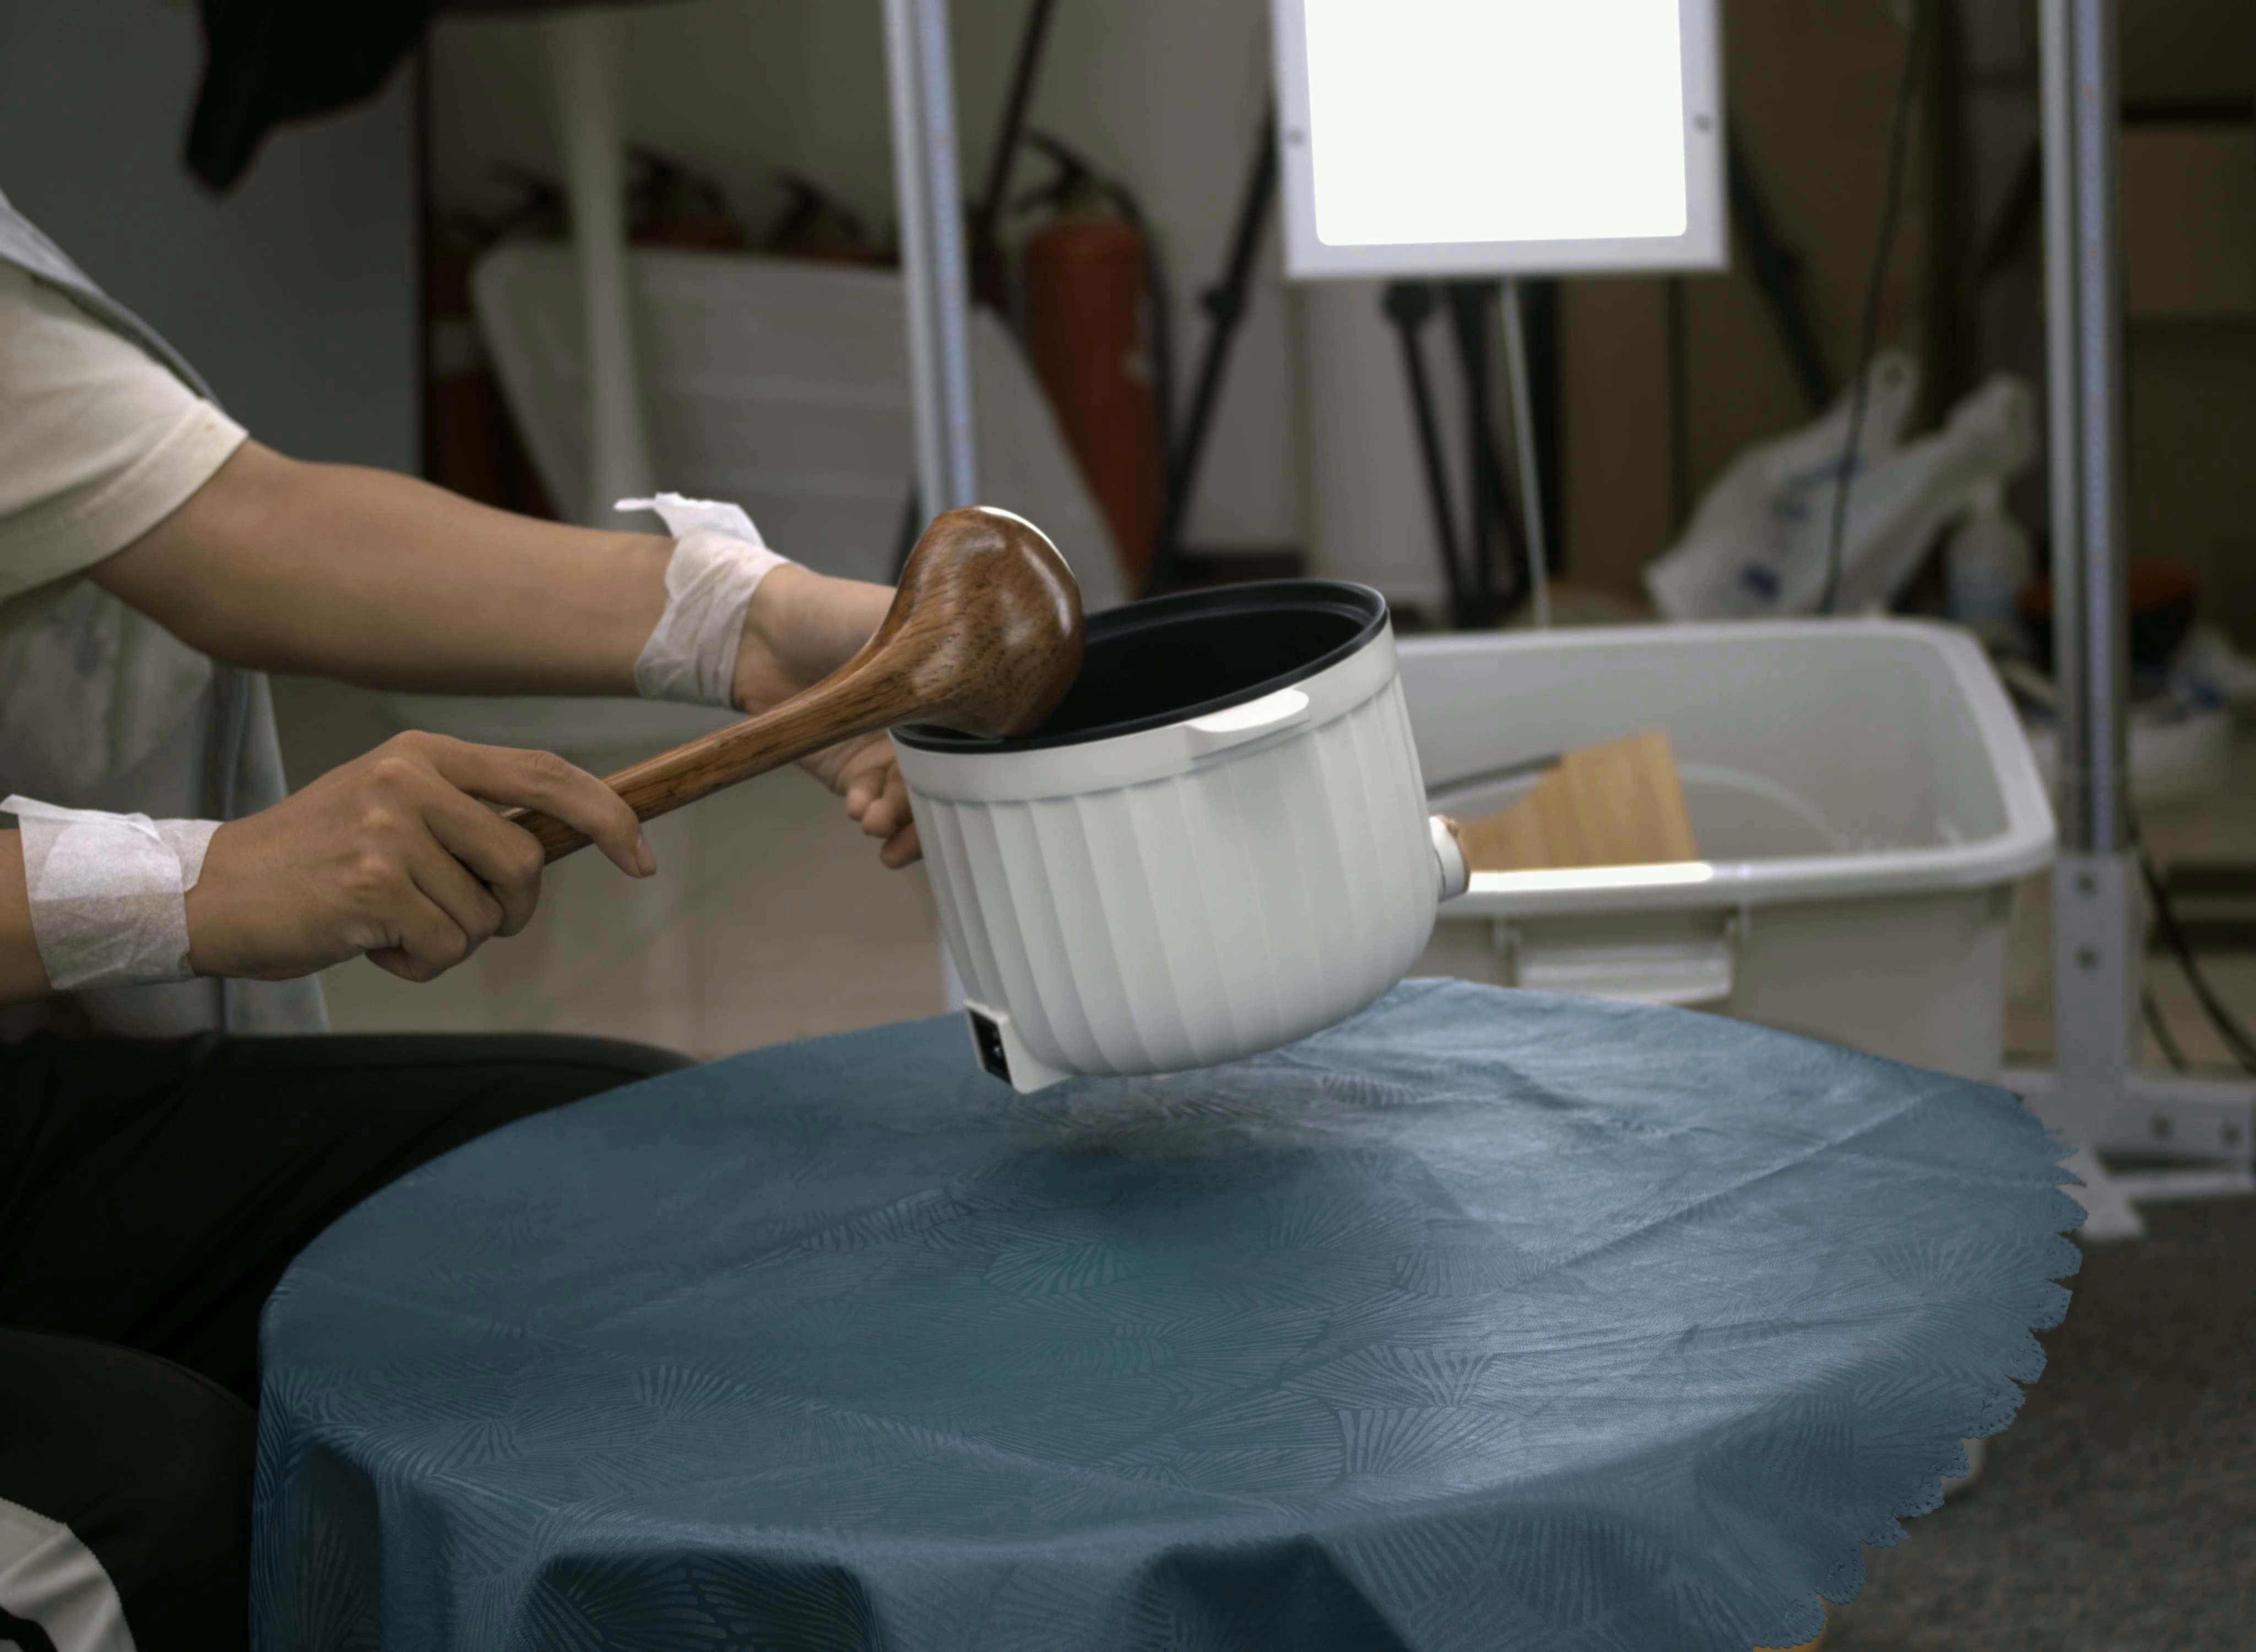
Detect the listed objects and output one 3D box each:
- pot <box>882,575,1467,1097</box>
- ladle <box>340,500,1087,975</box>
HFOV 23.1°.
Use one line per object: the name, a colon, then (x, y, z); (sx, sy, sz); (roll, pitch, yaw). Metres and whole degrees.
pot: (0.021, 0.001, 1.949); (0.188, 0.143, 0.244); (-22, 17, -17)
ladle: (-0.140, -0.026, 1.859); (0.273, 0.082, 0.077); (-26, 8, 0)
